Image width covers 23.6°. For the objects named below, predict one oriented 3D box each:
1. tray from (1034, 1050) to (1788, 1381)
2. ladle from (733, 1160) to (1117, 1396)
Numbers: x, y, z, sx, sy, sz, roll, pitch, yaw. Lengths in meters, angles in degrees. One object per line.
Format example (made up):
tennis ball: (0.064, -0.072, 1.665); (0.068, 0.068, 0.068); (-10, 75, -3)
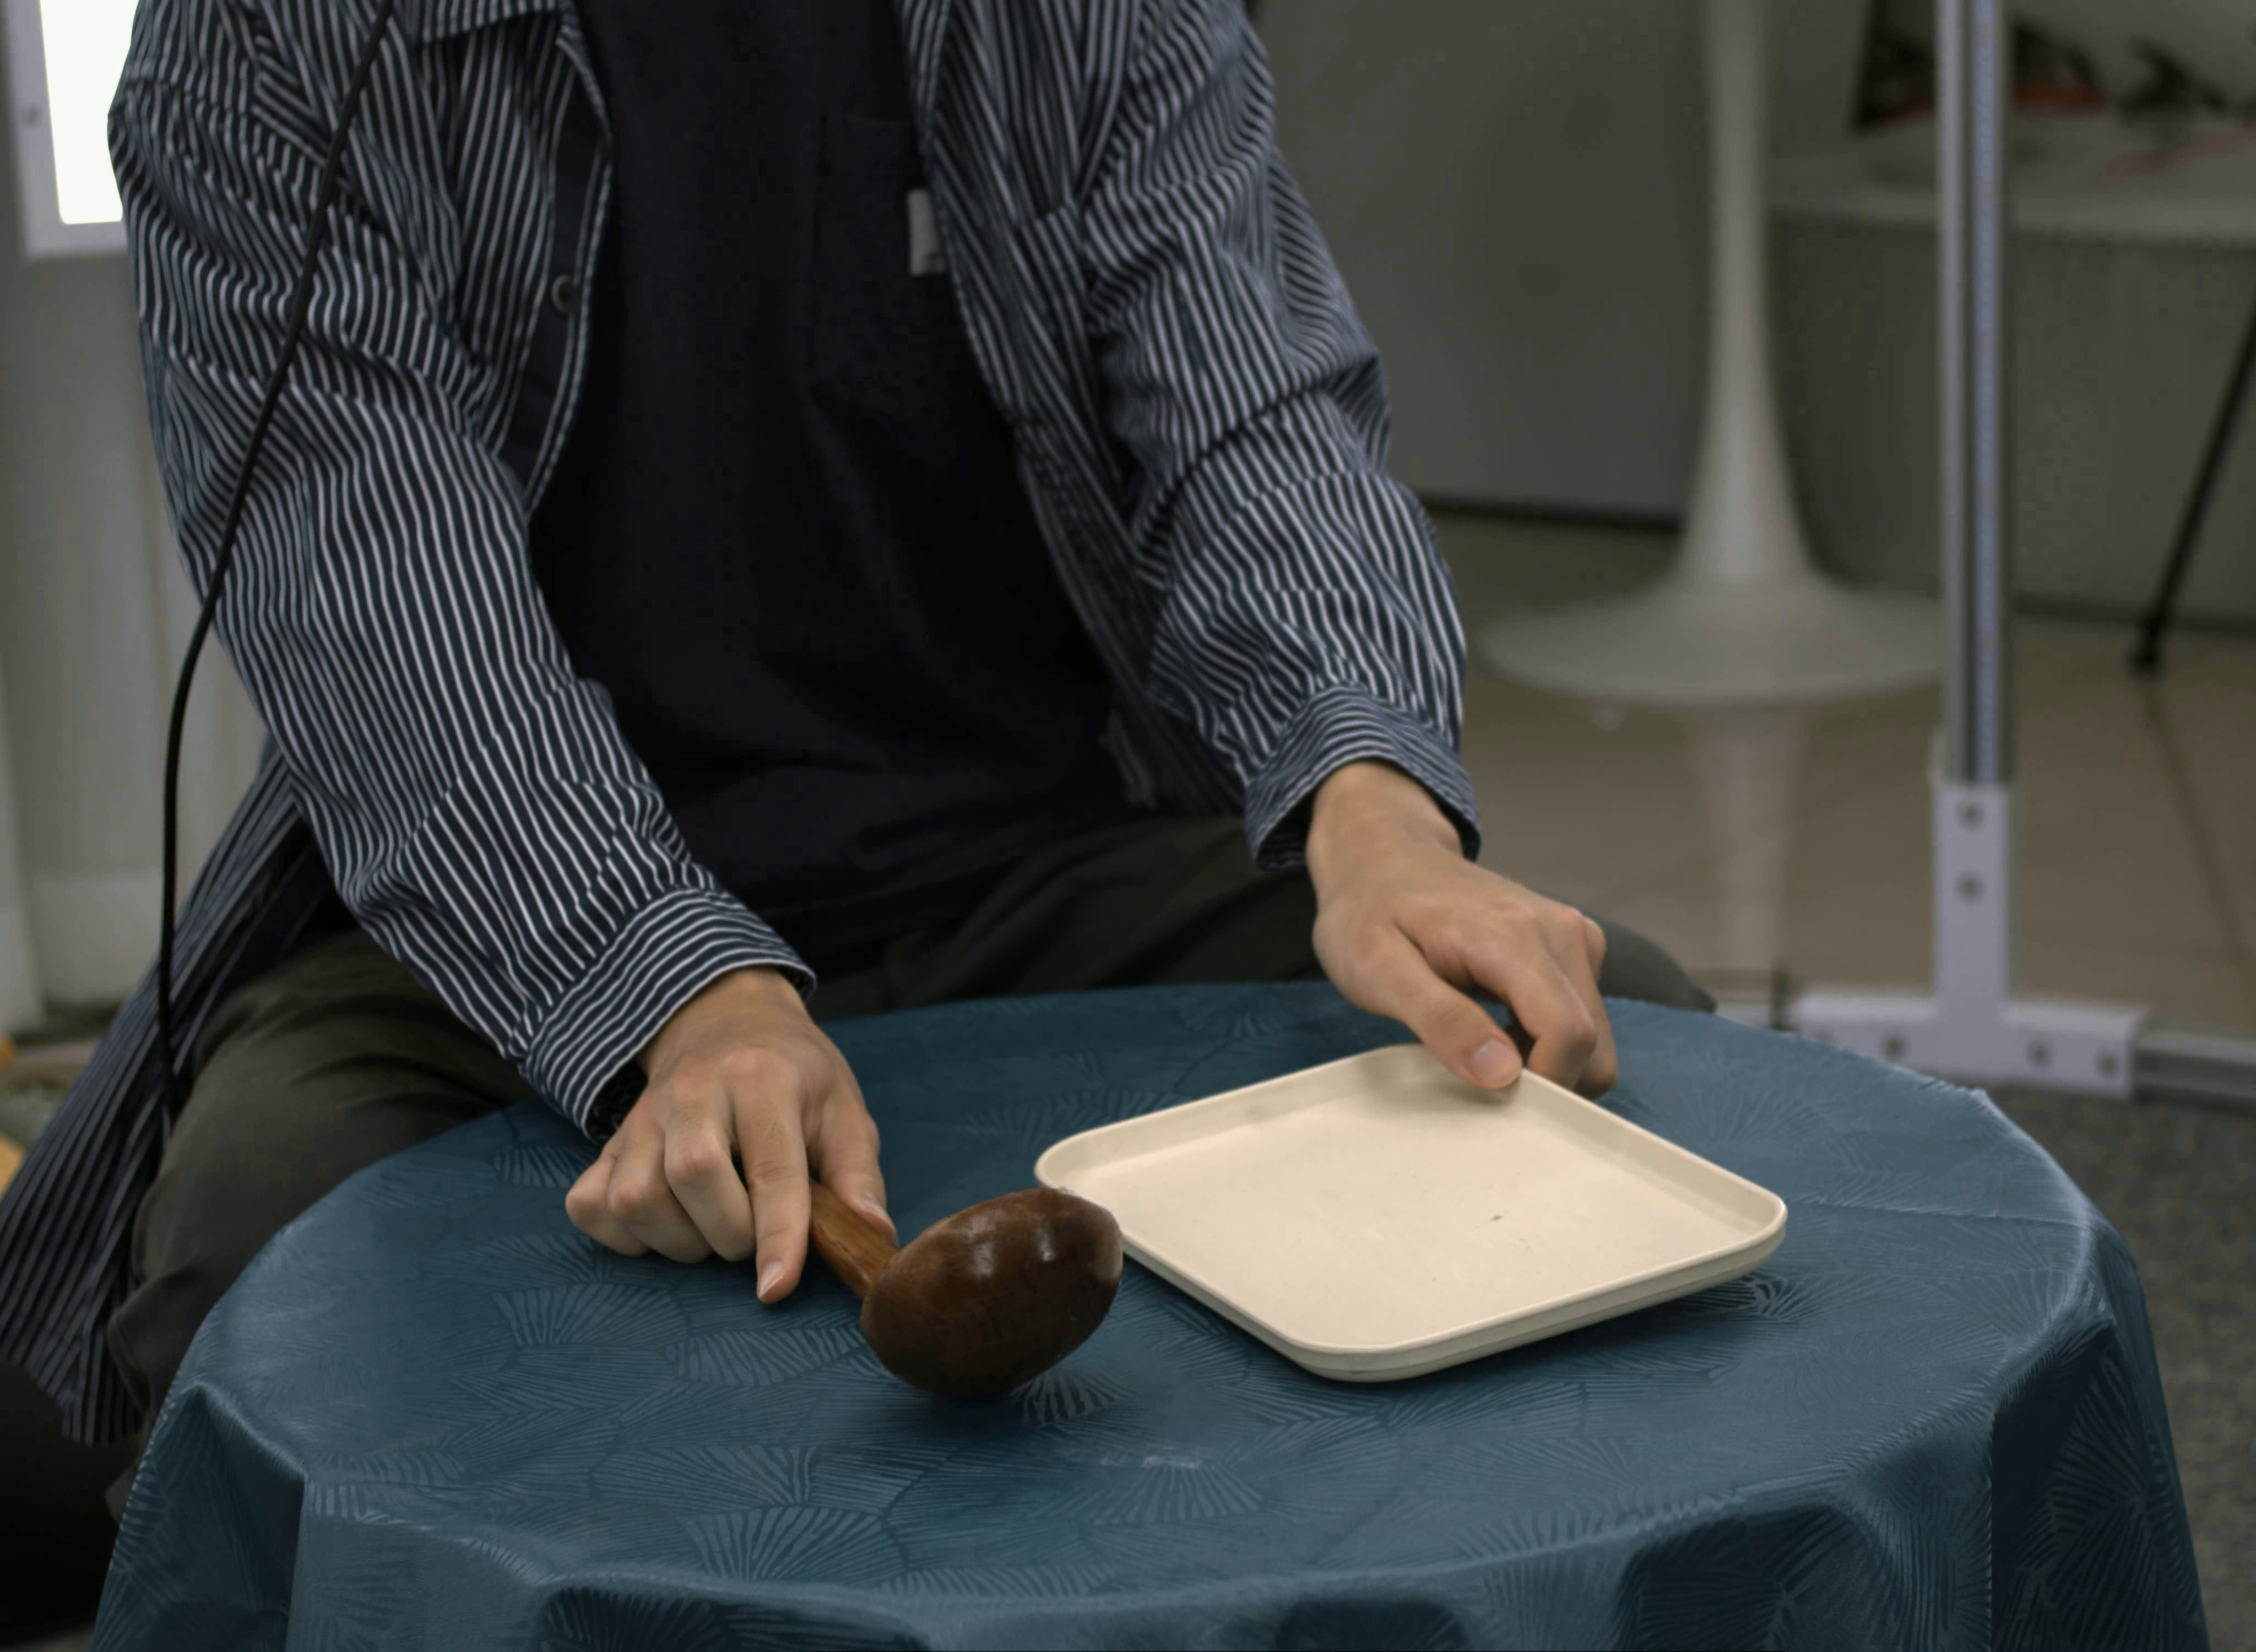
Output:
tray: (0.085, 0.120, 1.688); (0.168, 0.017, 0.242); (-14, 17, -22)
ladle: (-0.079, 0.114, 1.658); (0.080, 0.077, 0.276); (-7, 14, -19)
